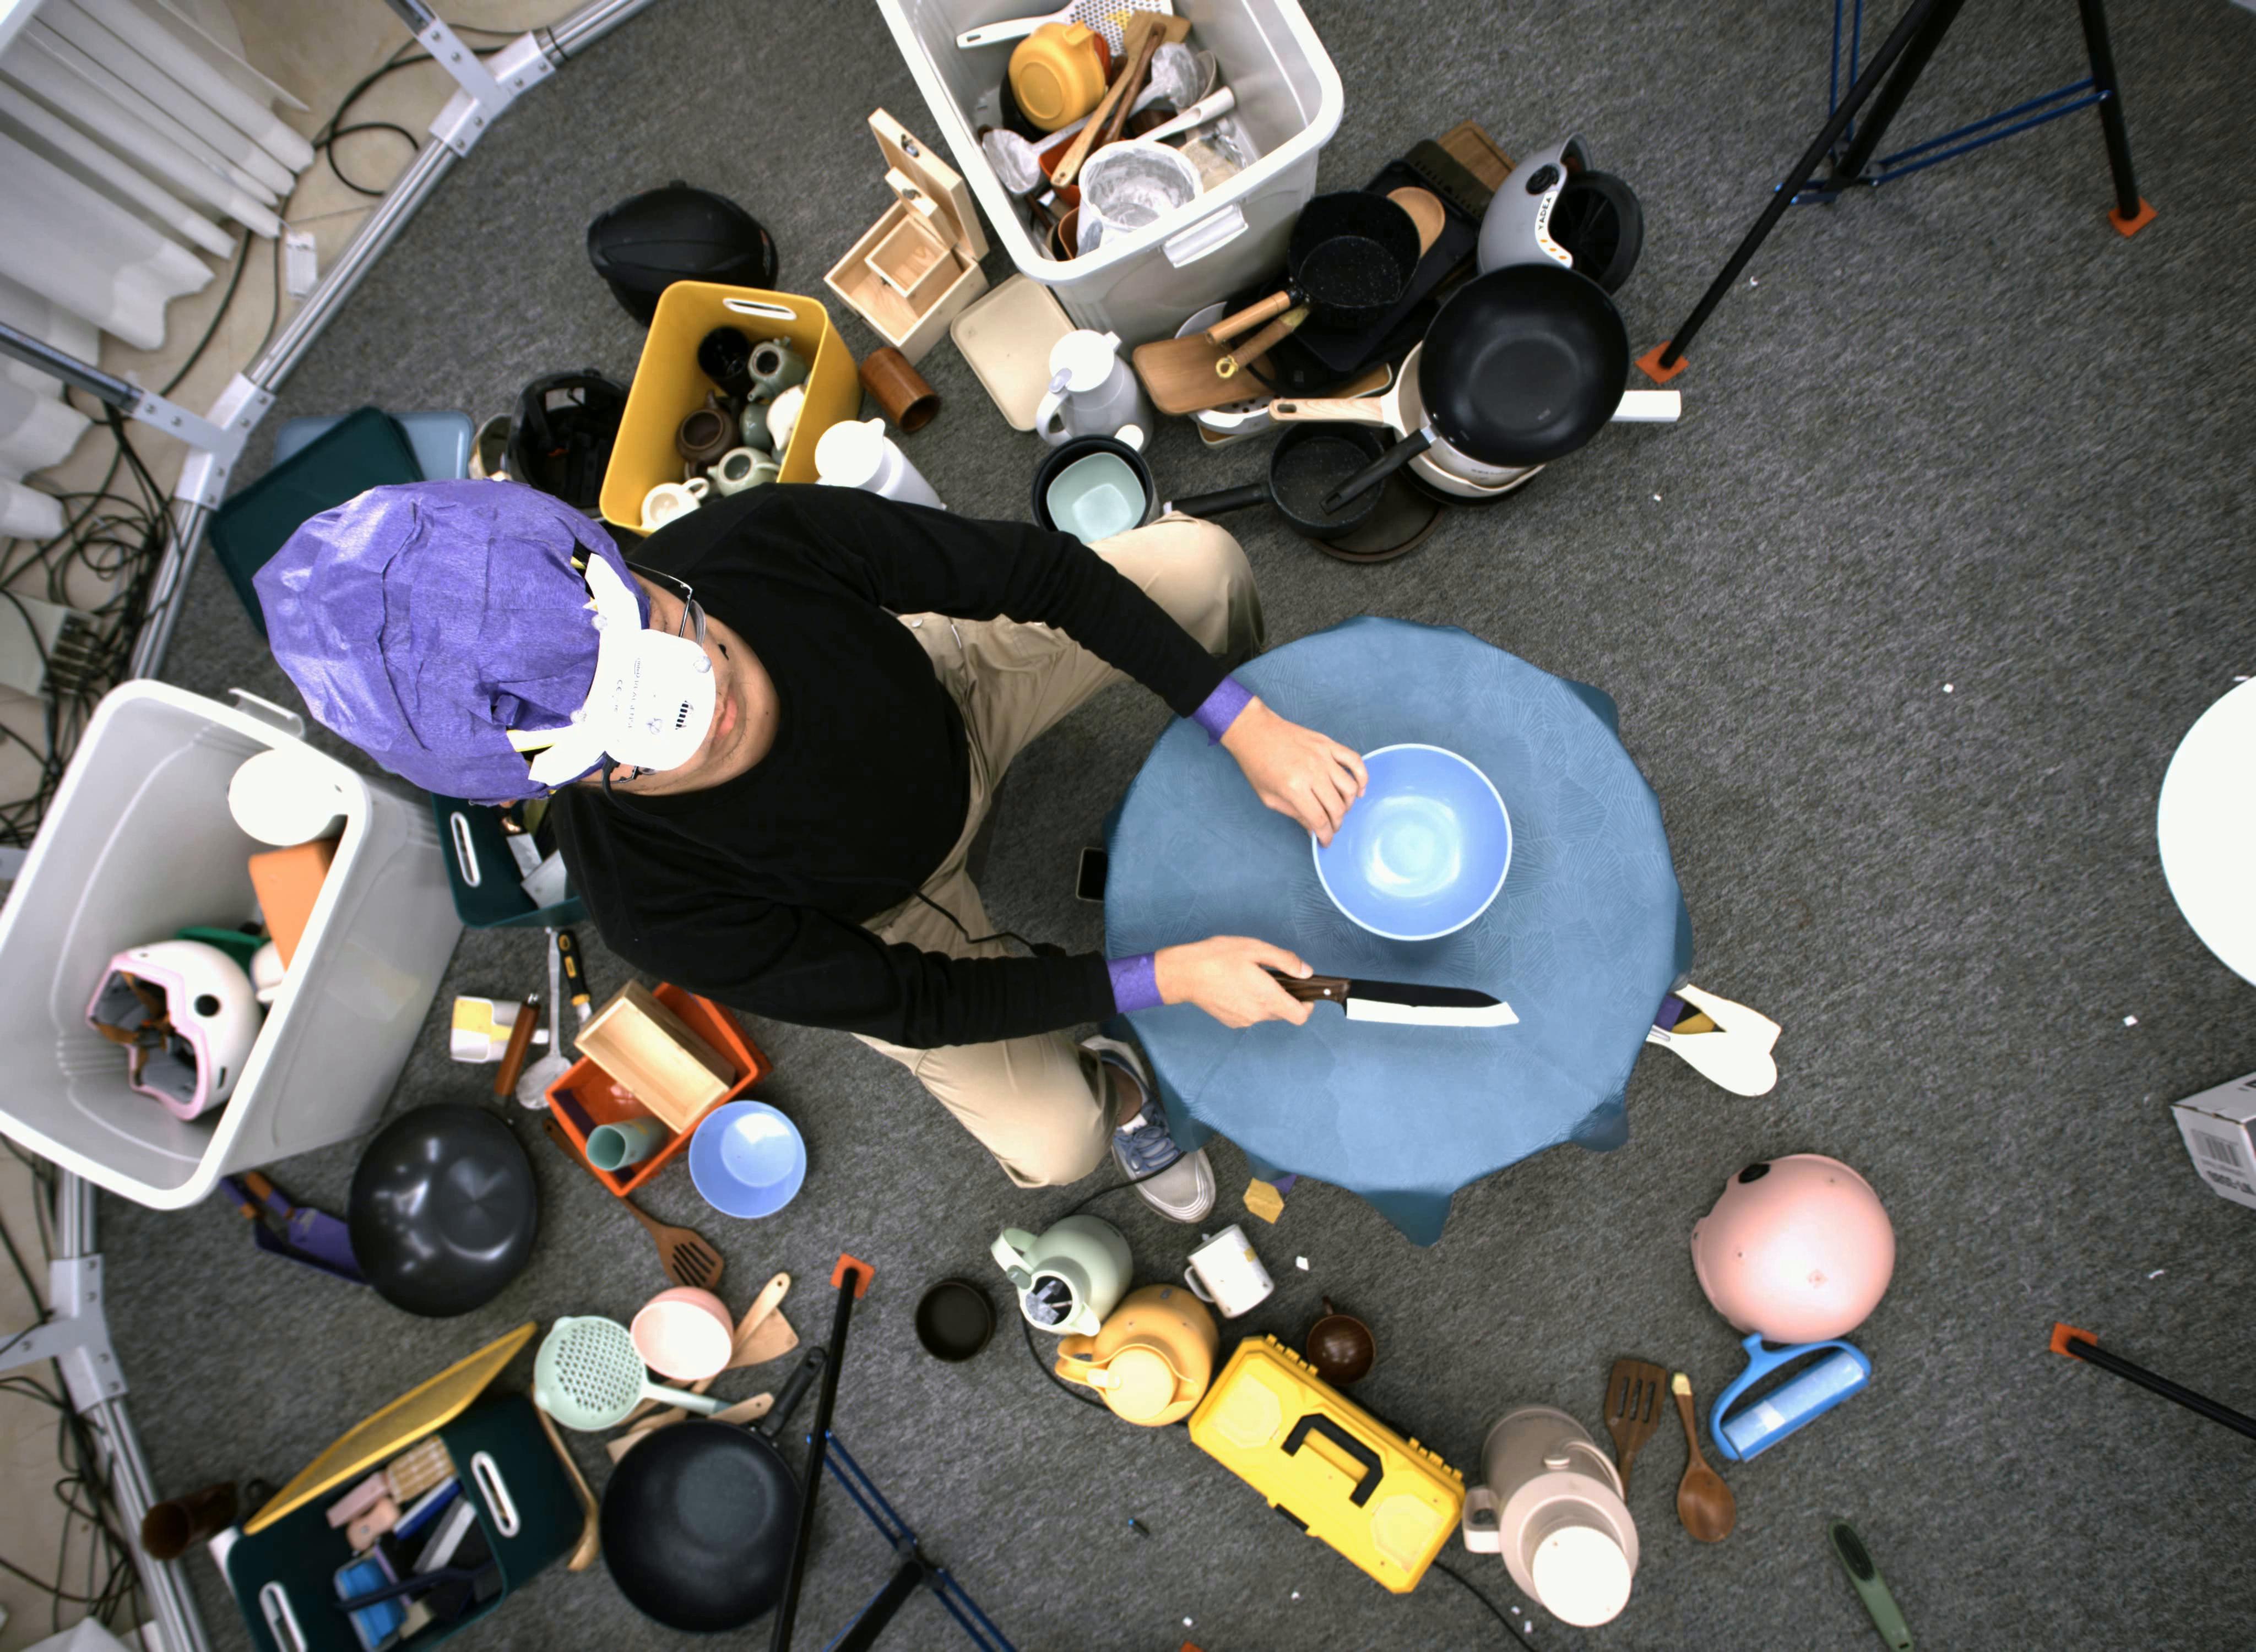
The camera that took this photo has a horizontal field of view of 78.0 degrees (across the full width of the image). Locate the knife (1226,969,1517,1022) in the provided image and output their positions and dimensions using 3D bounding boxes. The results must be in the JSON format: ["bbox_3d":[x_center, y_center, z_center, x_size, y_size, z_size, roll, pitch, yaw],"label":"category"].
[{"bbox_3d":[0.237,0.168,1.370,0.290,0.019,0.051,4,118,18],"label":"knife"}]

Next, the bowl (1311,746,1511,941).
[{"bbox_3d":[0.290,0.020,1.415,0.197,0.095,0.195,-1,86,13],"label":"bowl"}]
